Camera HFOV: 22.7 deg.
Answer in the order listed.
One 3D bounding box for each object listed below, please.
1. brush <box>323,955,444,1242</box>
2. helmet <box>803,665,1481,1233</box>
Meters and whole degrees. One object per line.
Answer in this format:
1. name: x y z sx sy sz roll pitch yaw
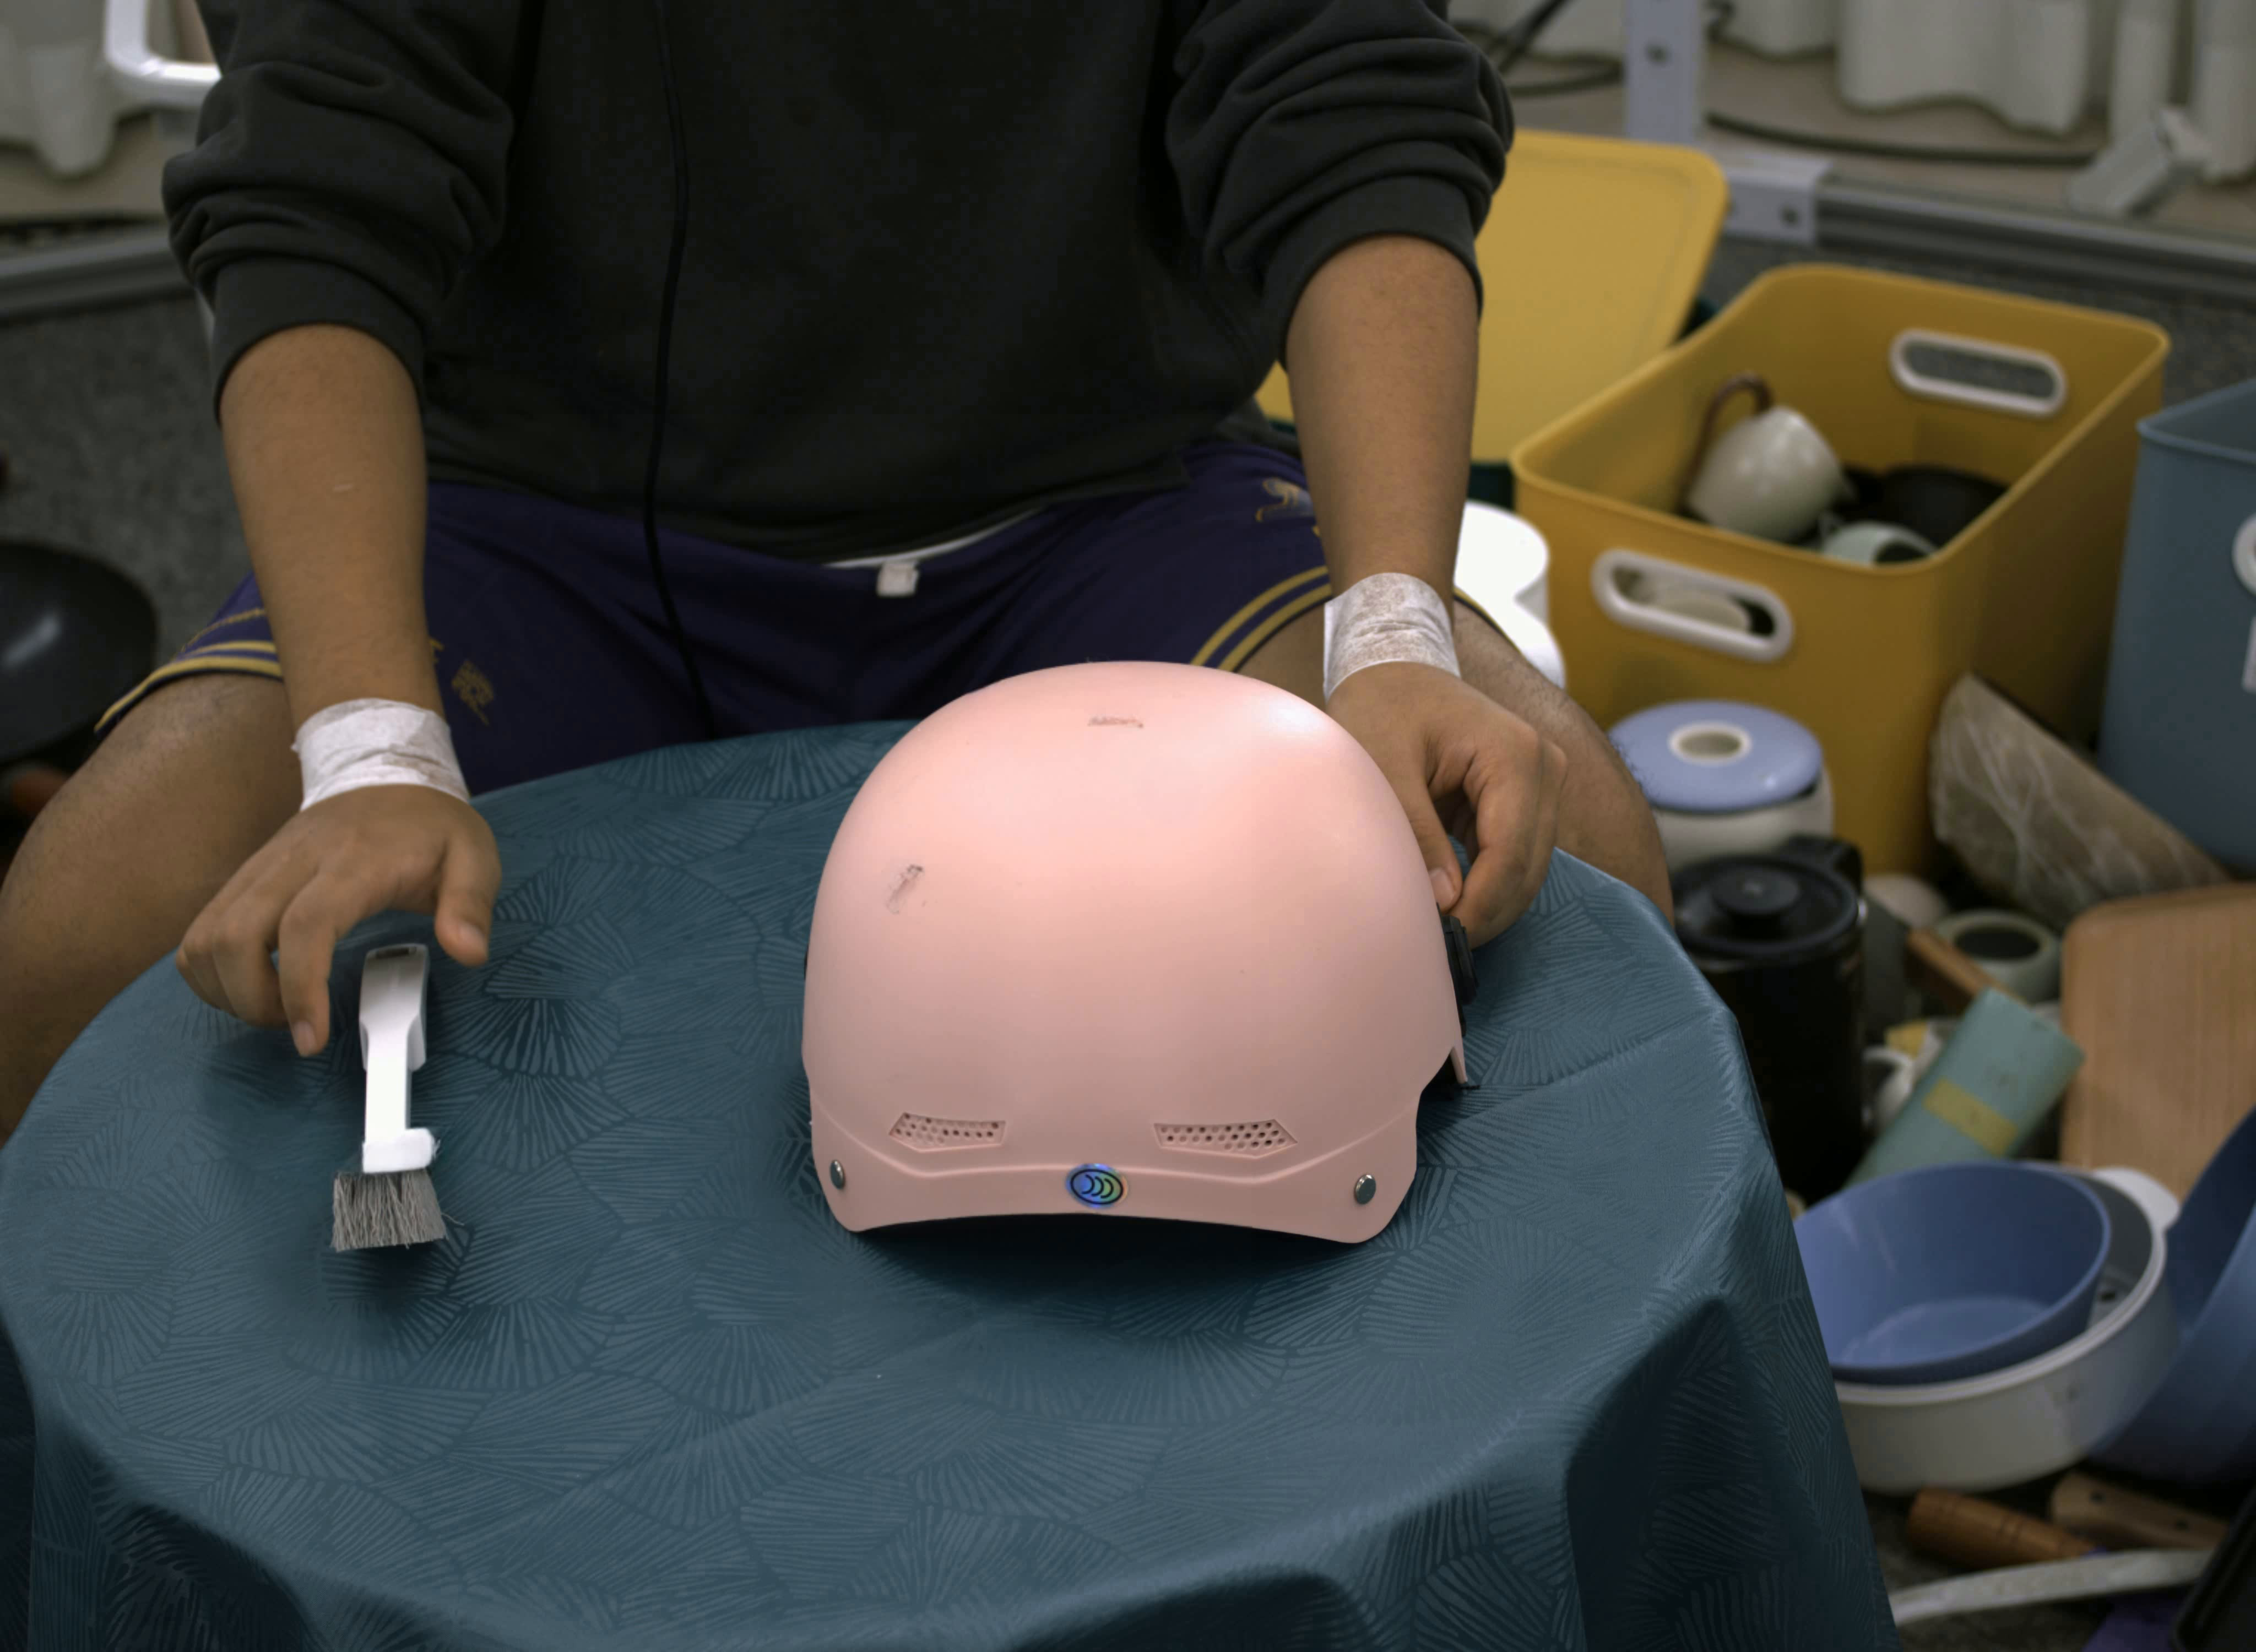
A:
1. brush: -0.252 0.096 1.913 0.034 0.050 0.245 -8 14 -4
2. helmet: 0.000 0.024 1.889 0.232 0.157 0.270 0 23 7
